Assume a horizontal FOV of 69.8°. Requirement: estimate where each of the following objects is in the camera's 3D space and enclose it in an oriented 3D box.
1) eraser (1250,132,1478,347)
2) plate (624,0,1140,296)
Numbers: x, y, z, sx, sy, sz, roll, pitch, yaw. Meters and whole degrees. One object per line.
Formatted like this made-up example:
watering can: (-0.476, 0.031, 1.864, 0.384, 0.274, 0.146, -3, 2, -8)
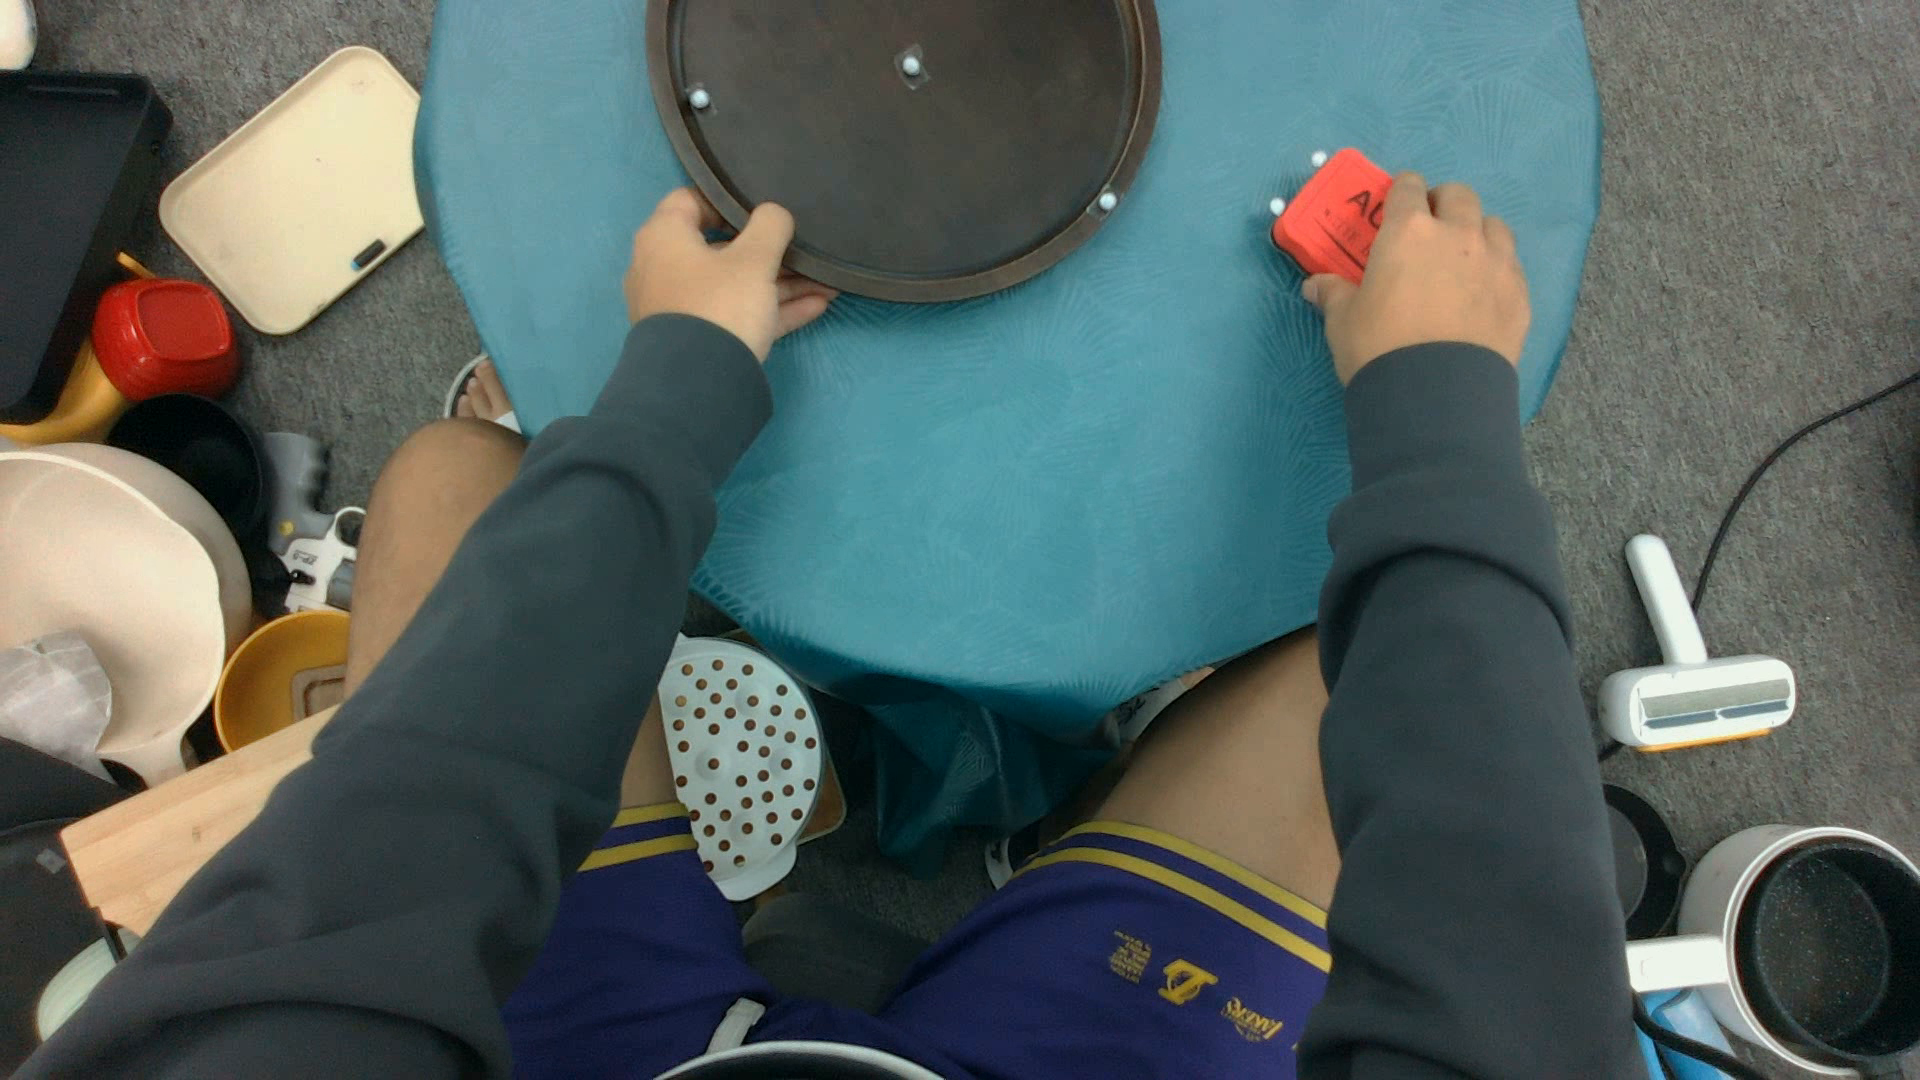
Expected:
eraser: (0.202, -0.150, 0.690, 0.108, 0.023, 0.059, 39, 84, -5)
plate: (-0.036, -0.241, 0.679, 0.255, 0.029, 0.255, 1, 82, -11)
